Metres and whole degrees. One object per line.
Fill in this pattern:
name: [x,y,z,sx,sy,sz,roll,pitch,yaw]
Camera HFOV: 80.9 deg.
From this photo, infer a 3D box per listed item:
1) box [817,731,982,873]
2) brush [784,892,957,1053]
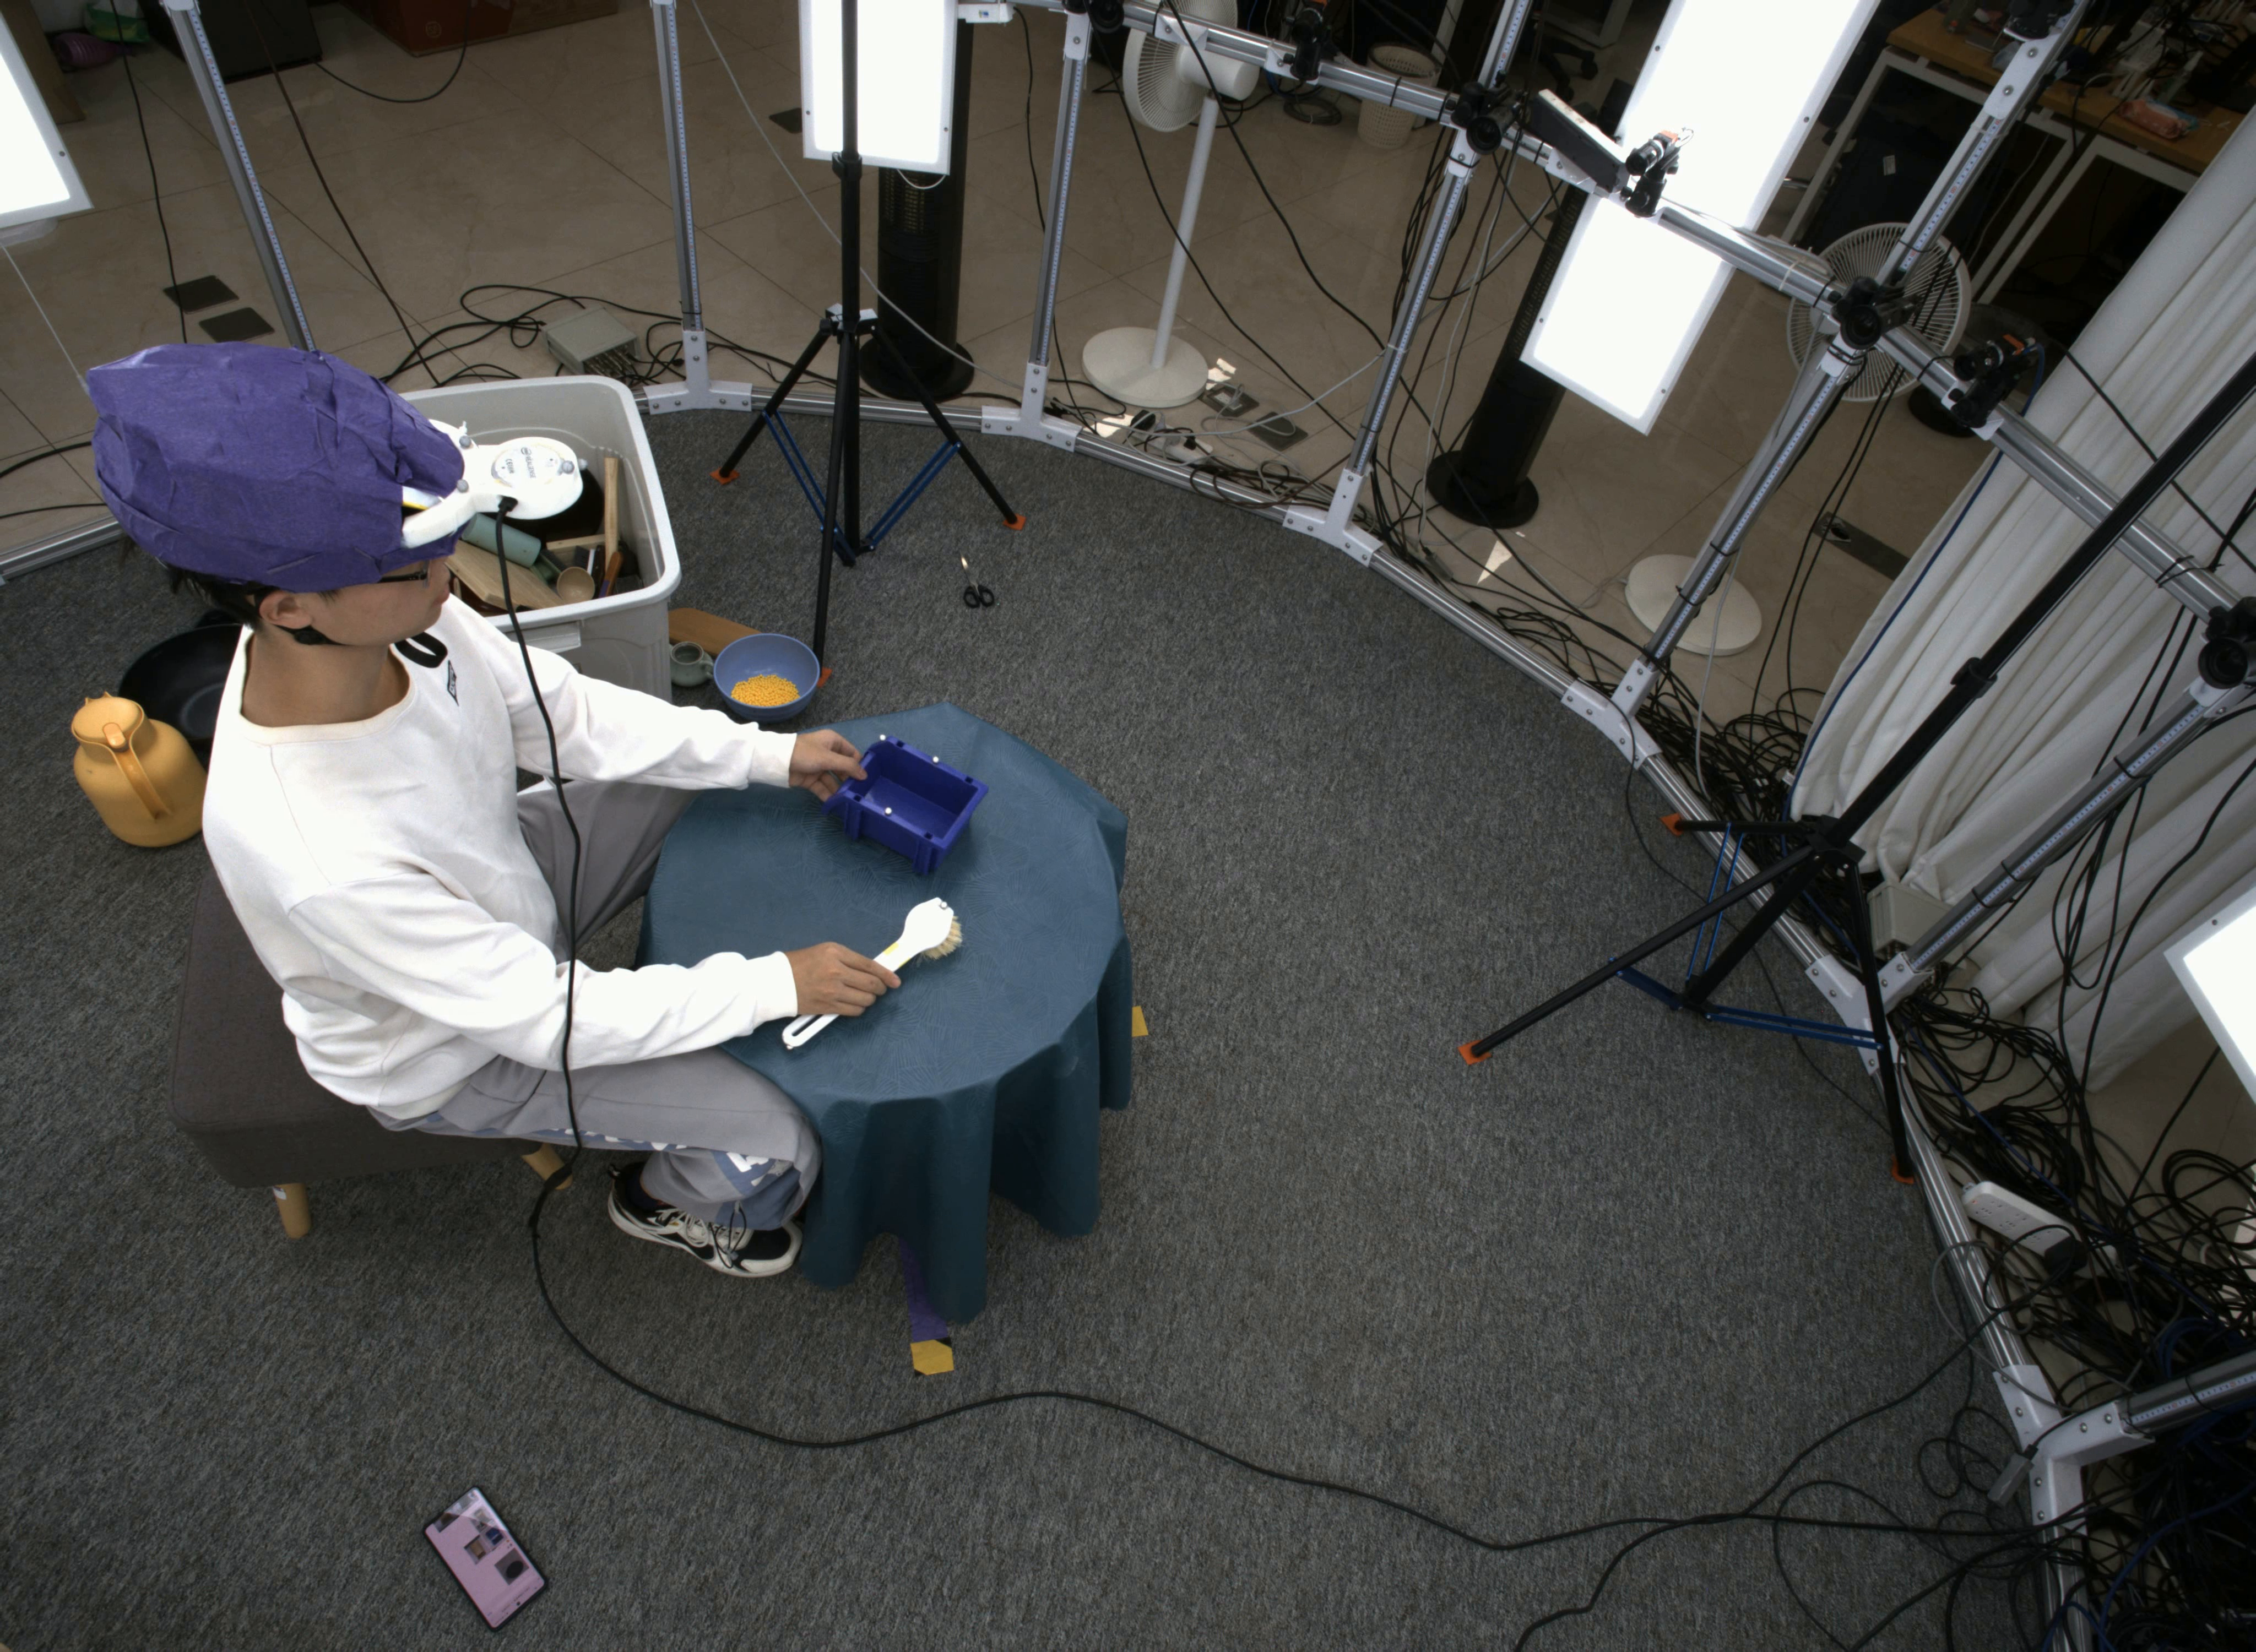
box: [-0.305,-0.035,1.724,0.178,0.083,0.124,28,53,2]
brush: [-0.316,0.186,1.602,0.066,0.058,0.266,33,66,27]
